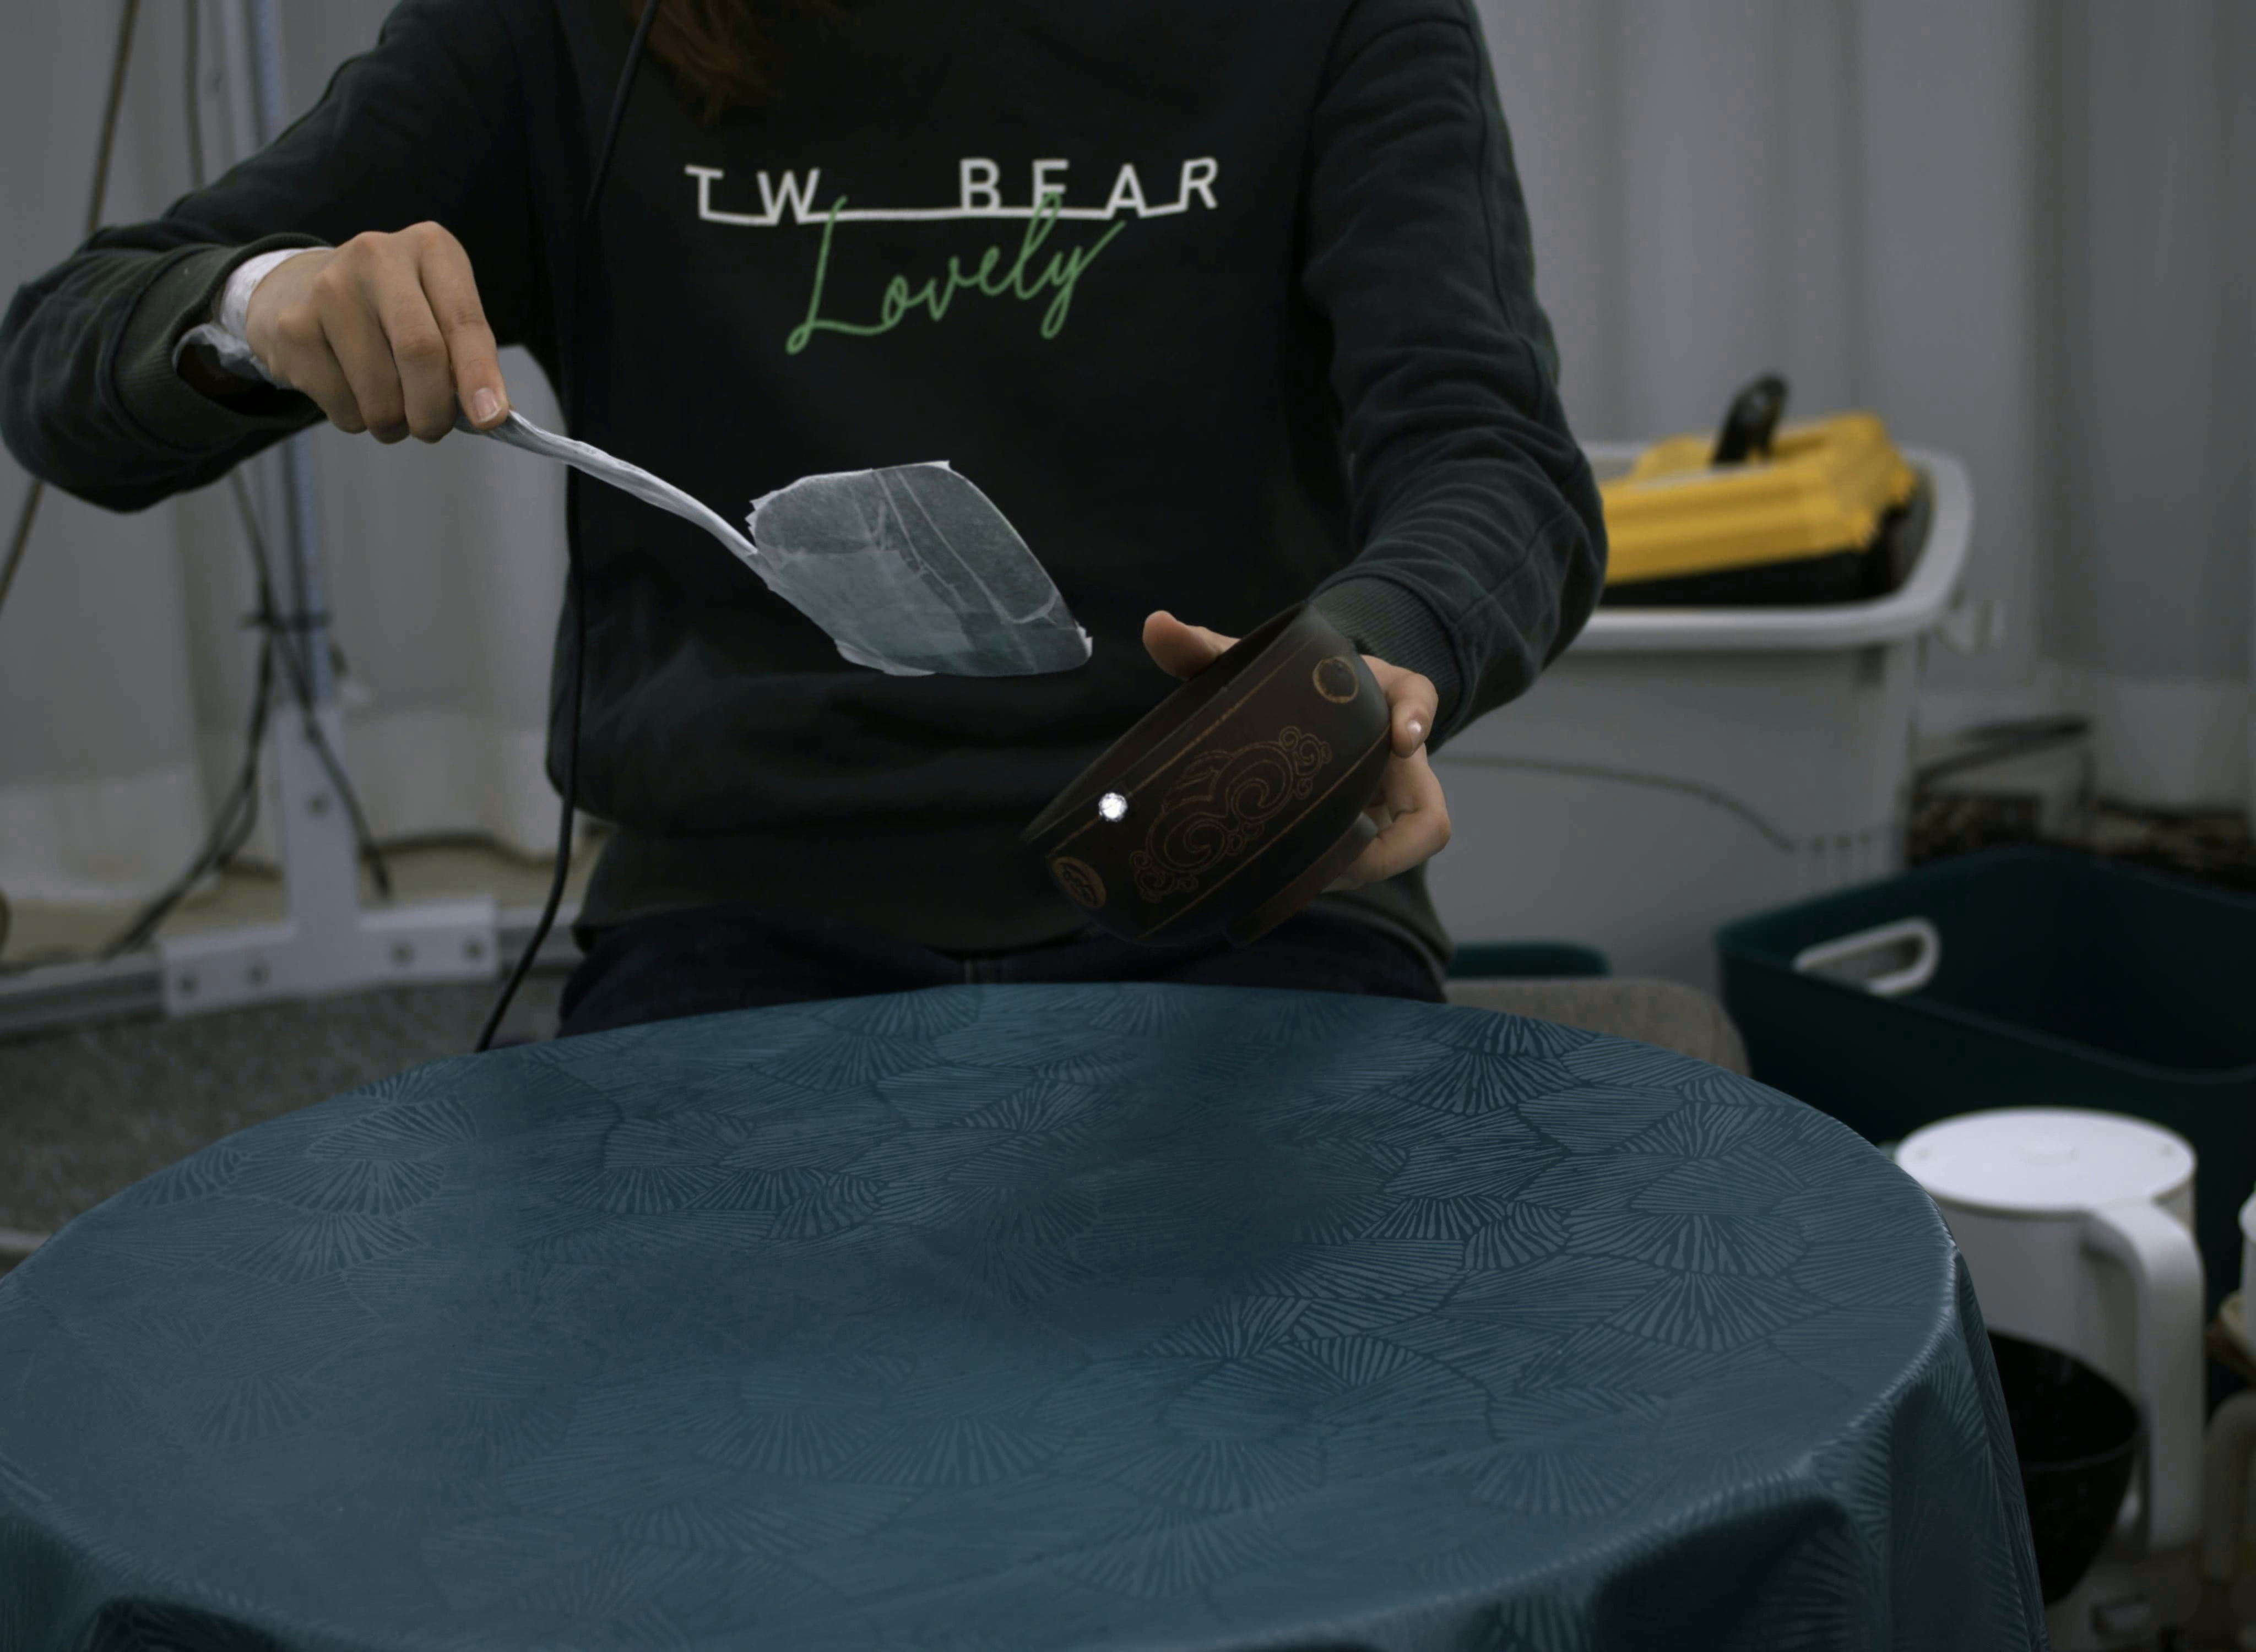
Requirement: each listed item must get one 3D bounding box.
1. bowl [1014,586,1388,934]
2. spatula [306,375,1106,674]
[{"bbox_3d":[0.031,-0.011,1.673,0.118,0.070,0.118,-38,3,2],"label":"bowl"},{"bbox_3d":[-0.152,-0.111,1.750,0.368,0.097,0.045,23,68,44],"label":"spatula"}]
